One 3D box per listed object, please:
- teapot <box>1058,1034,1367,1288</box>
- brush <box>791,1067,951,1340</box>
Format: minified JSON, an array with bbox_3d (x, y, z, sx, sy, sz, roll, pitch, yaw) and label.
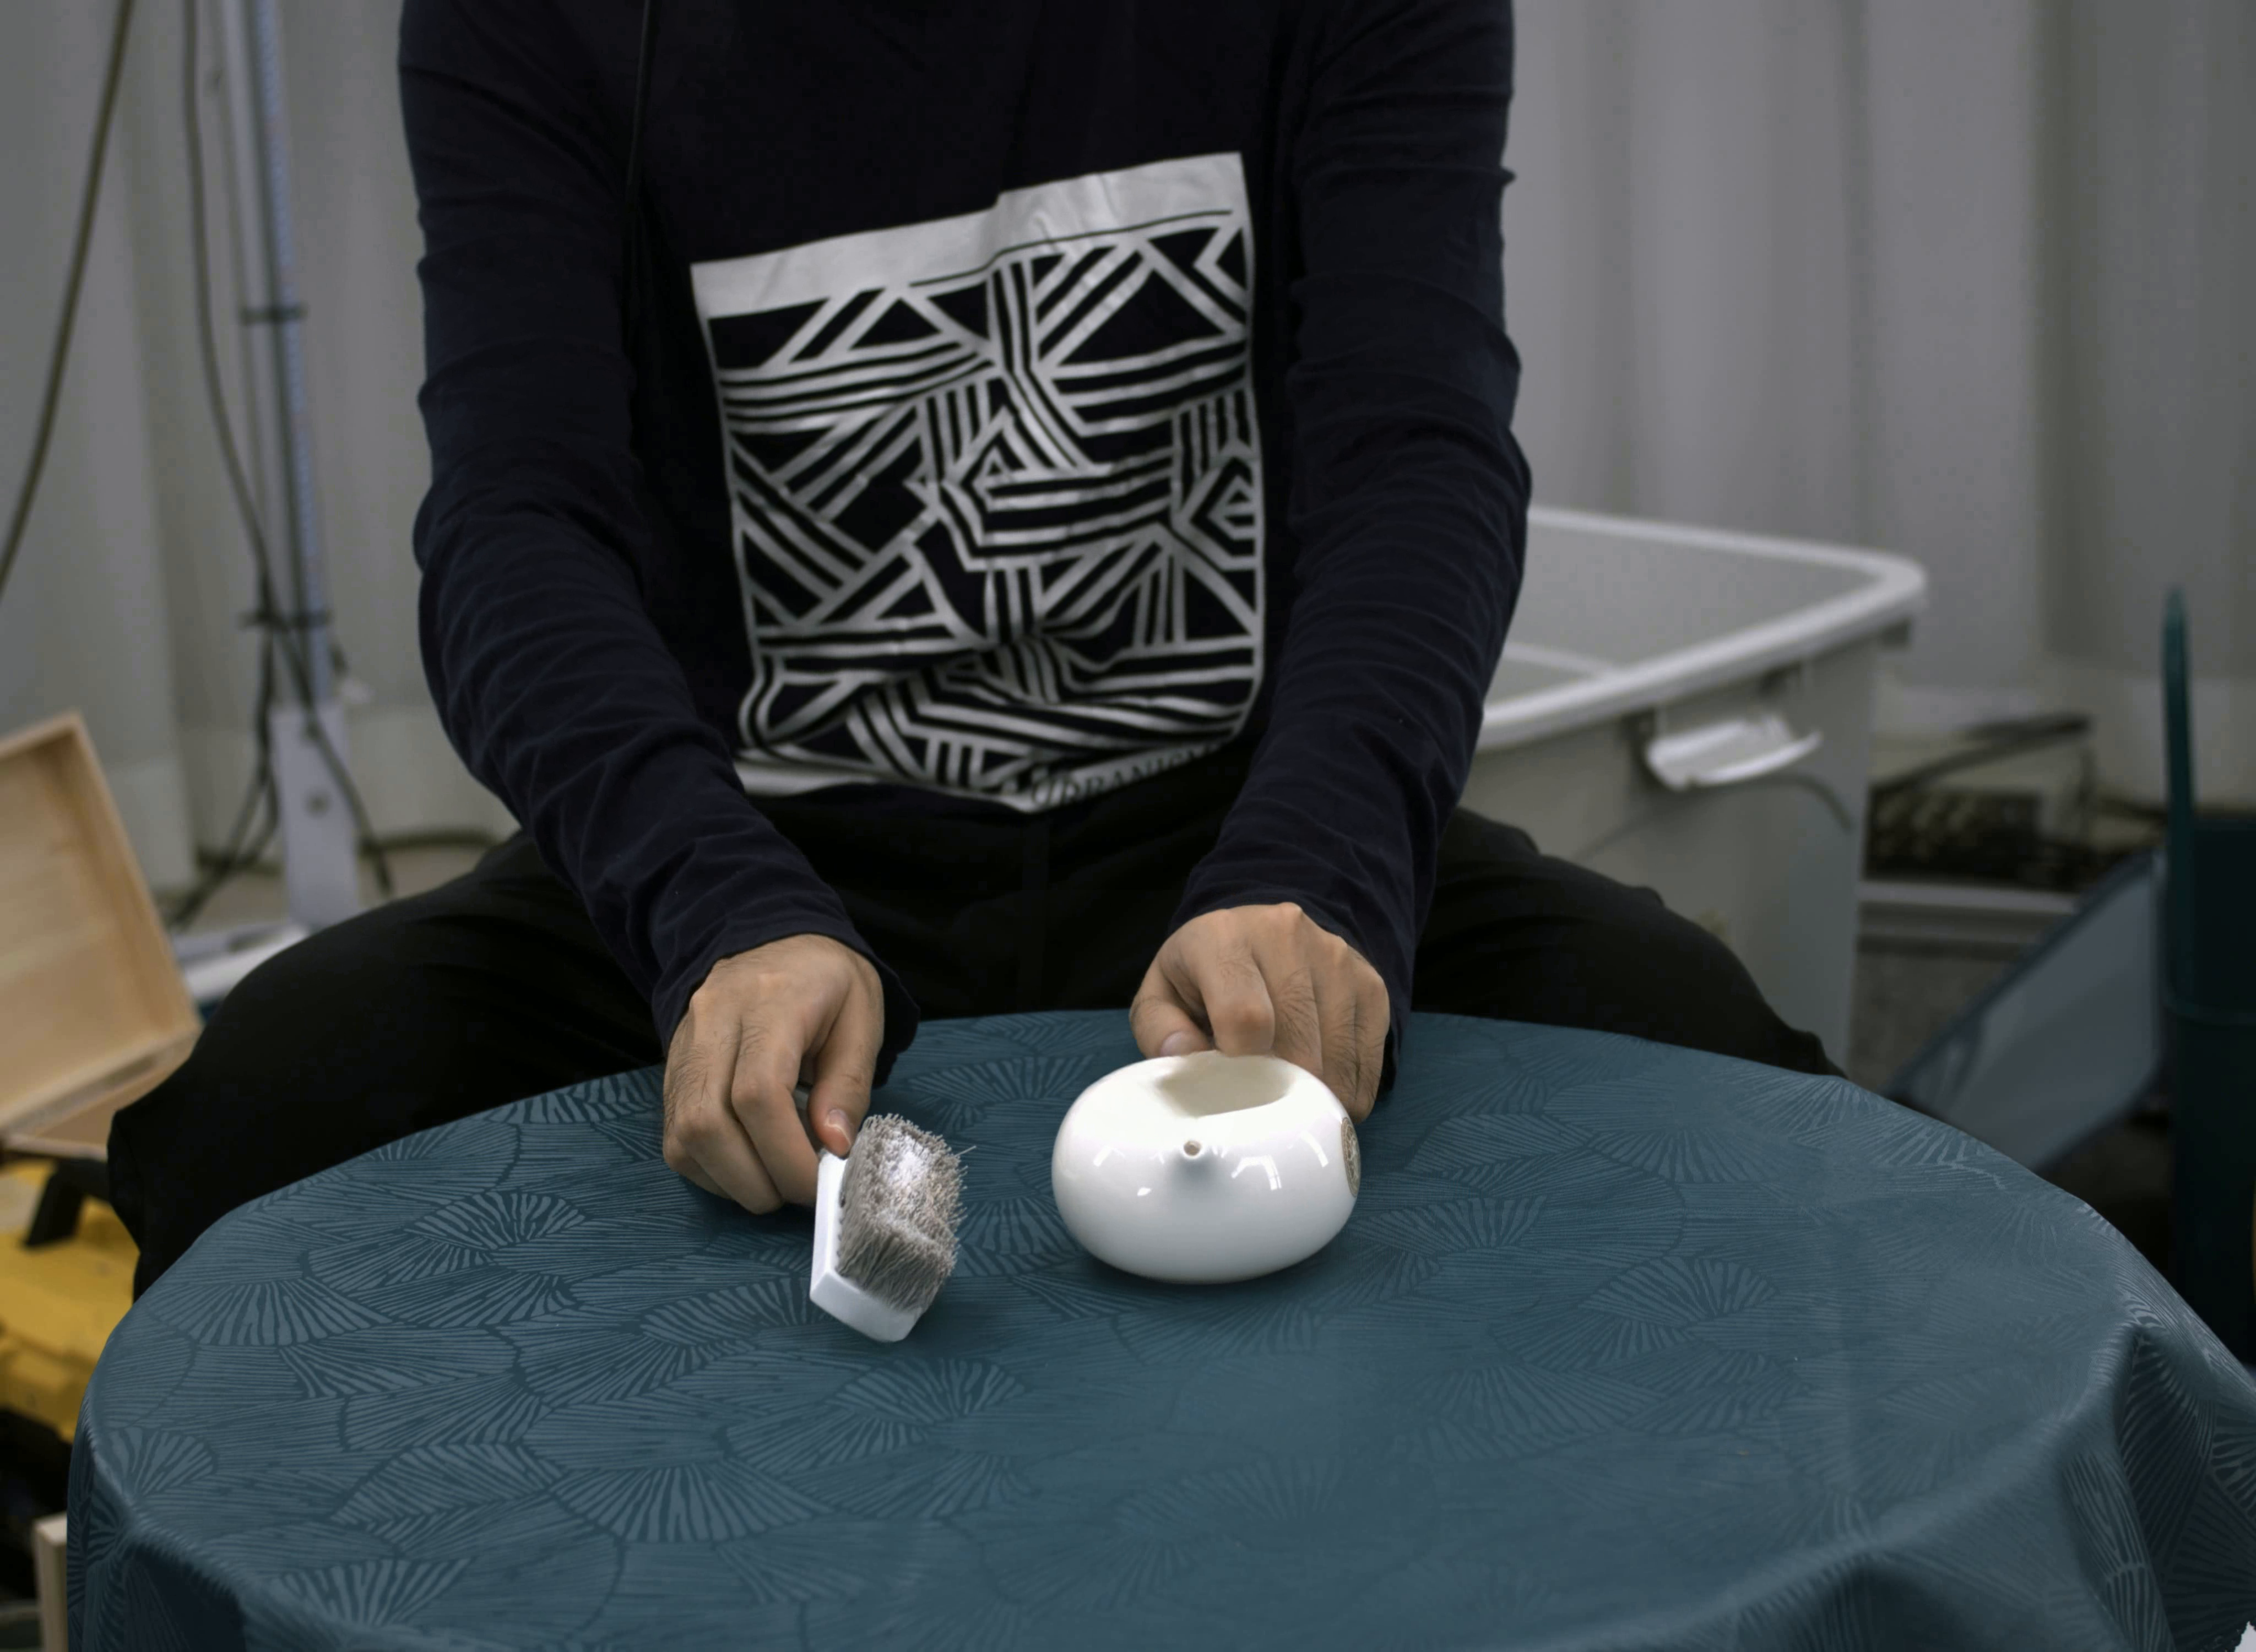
[{"bbox_3d":[0.025,0.101,1.657,0.093,0.056,0.128,-8,14,2],"label":"teapot"},{"bbox_3d":[-0.082,0.097,1.690,0.034,0.050,0.245,21,11,-10],"label":"brush"}]
